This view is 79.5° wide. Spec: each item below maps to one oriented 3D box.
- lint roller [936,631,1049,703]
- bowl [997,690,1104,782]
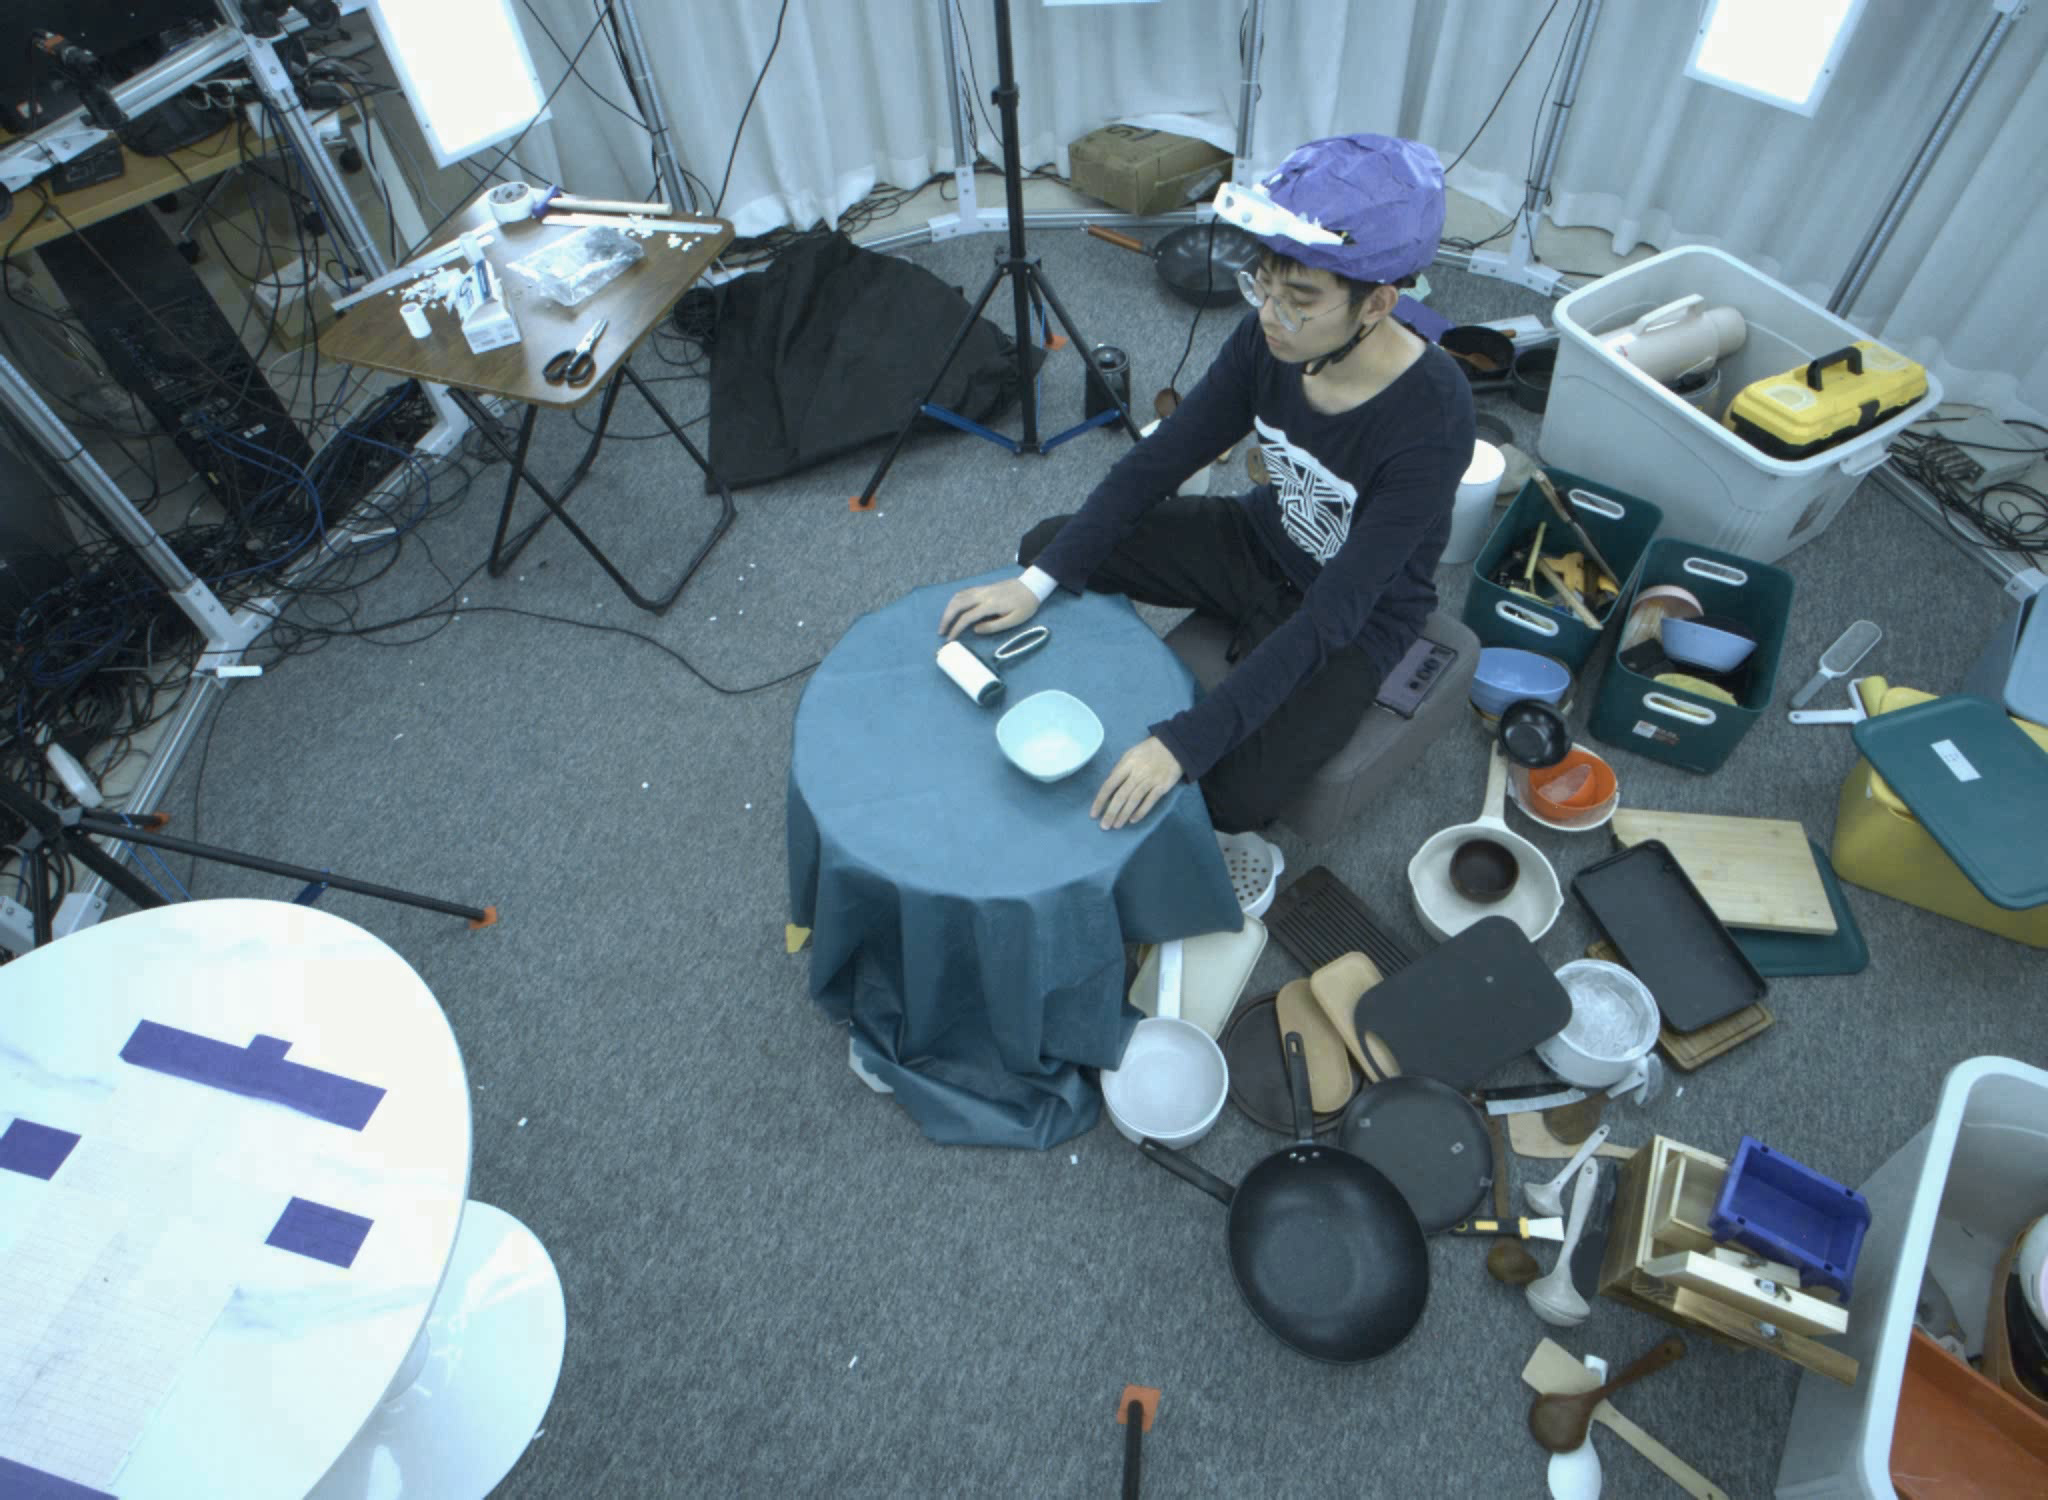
[{"bbox_3d":[-0.032,-0.150,1.879,0.182,0.049,0.132,-33,60,-24],"label":"lint roller"},{"bbox_3d":[0.040,-0.010,1.765,0.151,0.059,0.150,-2,55,4],"label":"bowl"}]
